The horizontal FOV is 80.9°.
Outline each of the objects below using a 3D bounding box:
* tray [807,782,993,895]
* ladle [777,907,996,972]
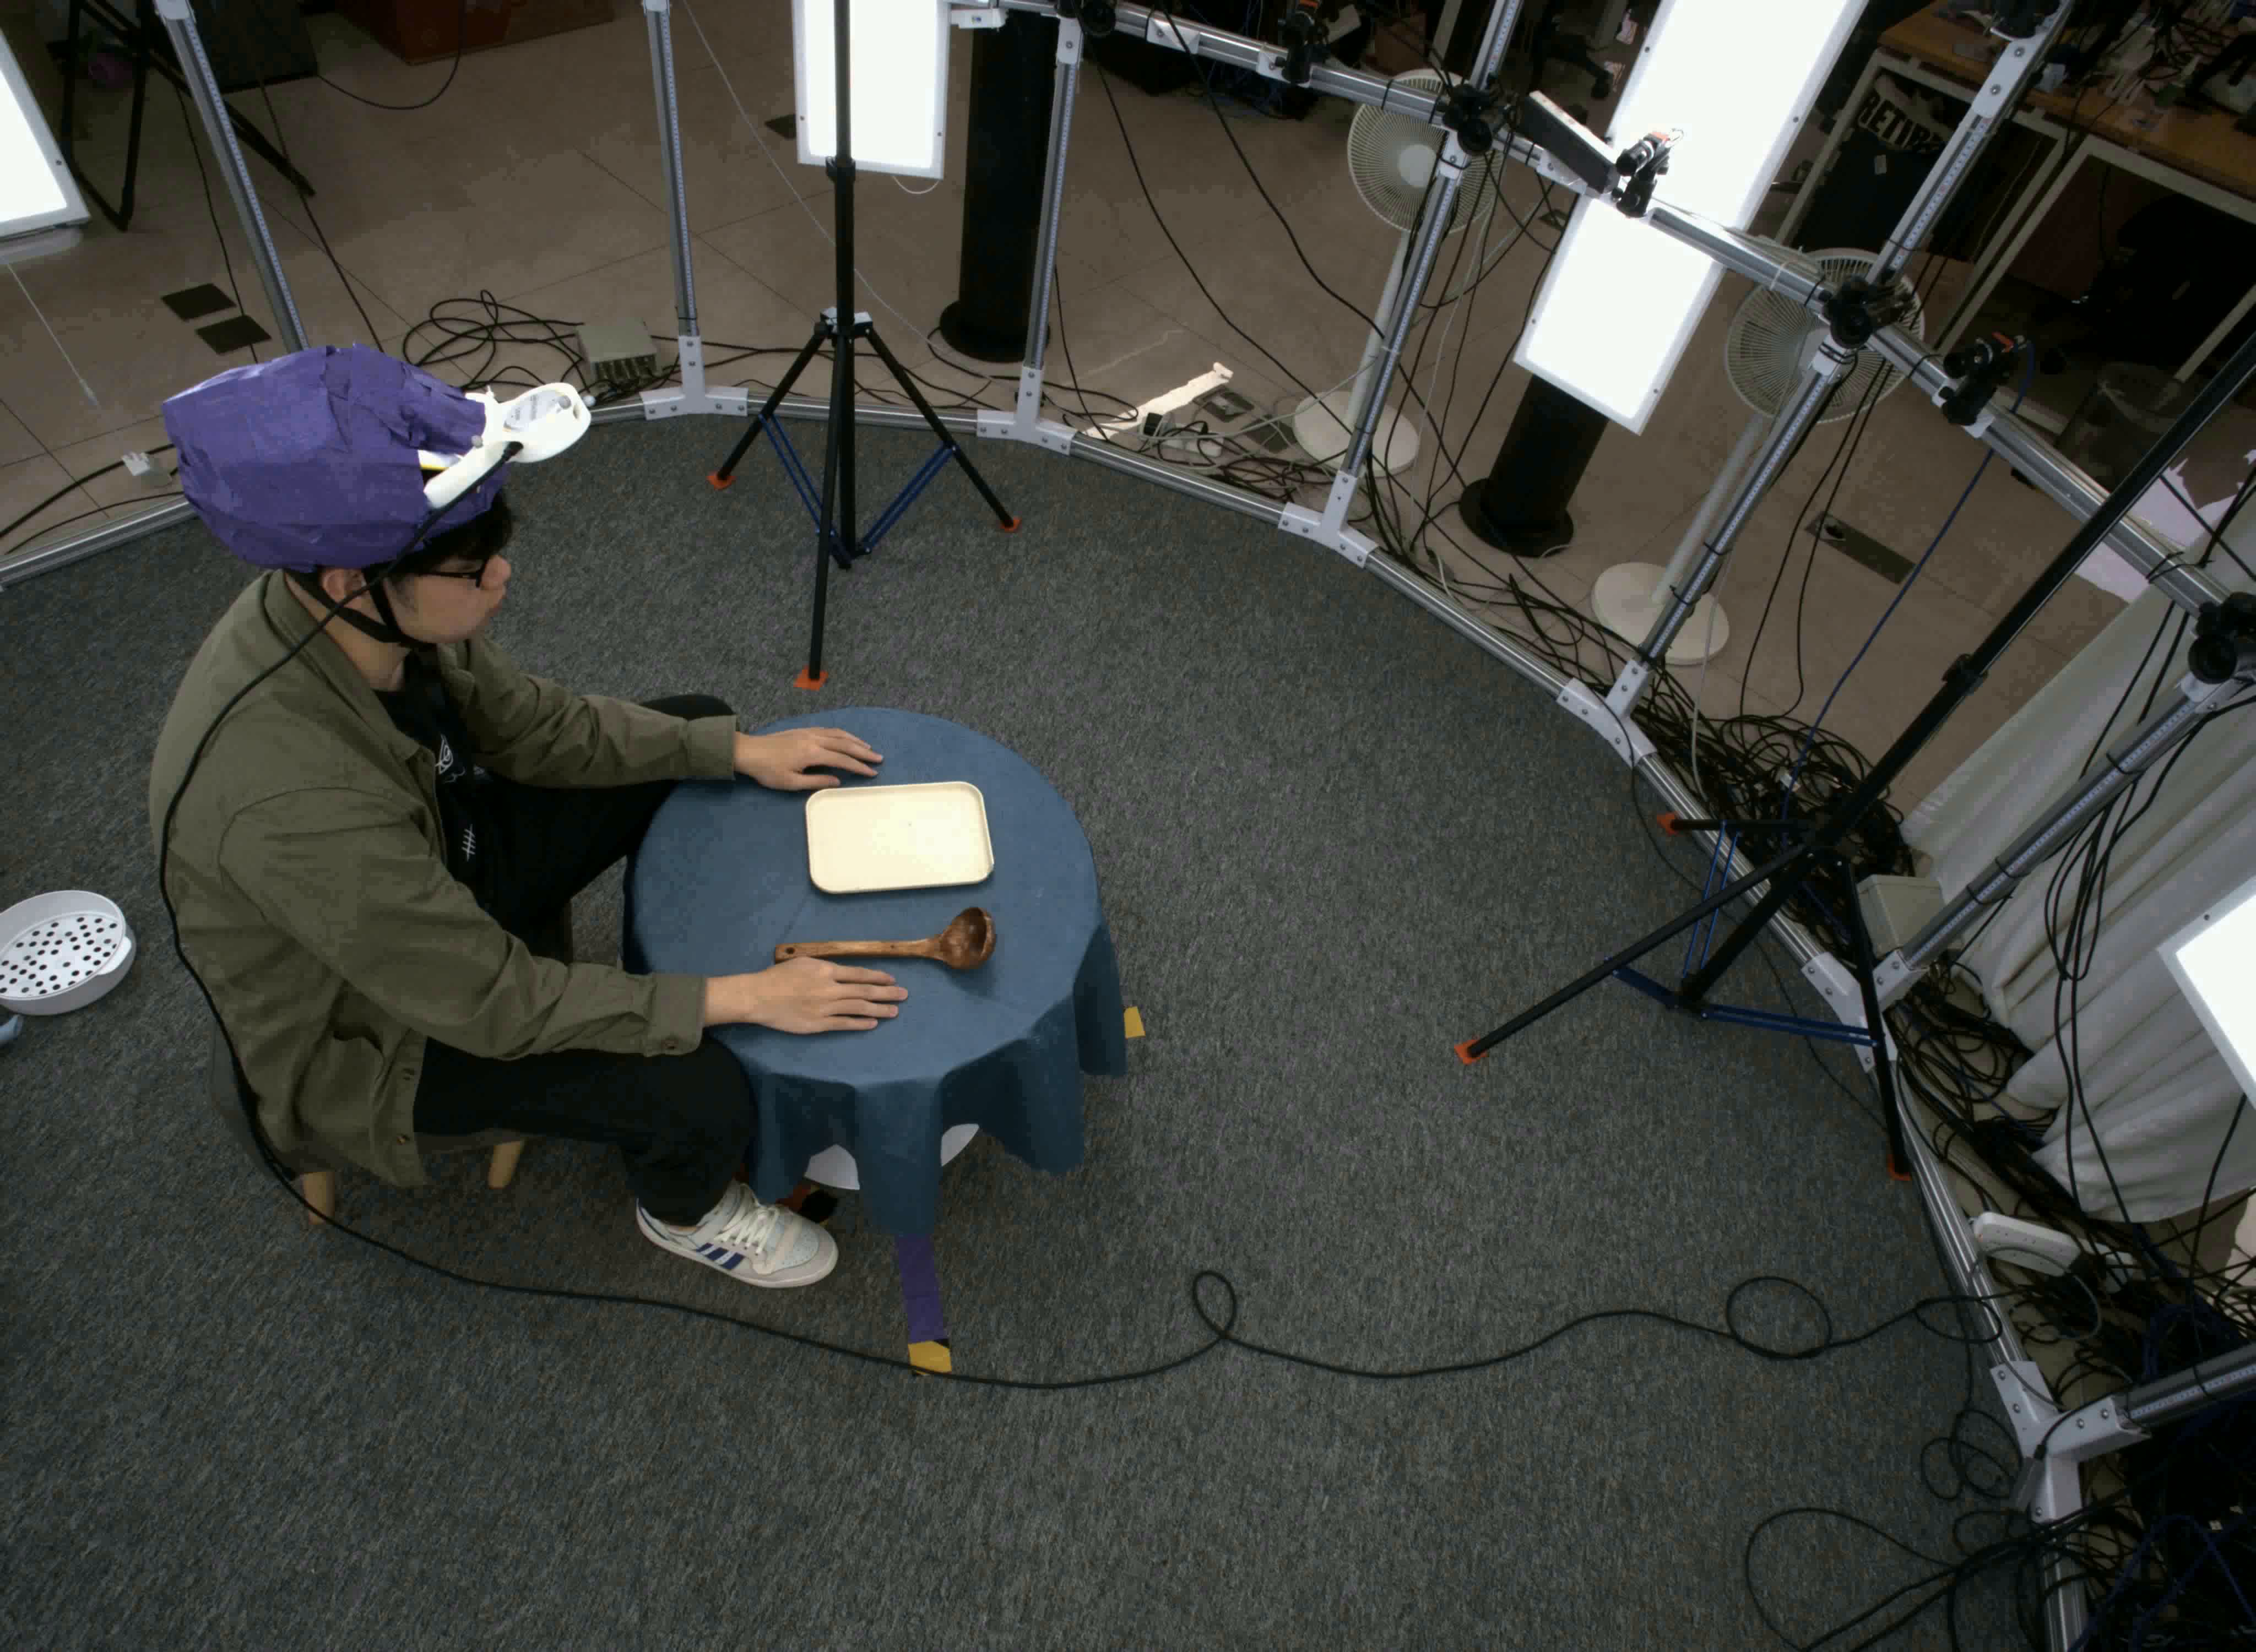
[{"bbox_3d":[-0.306,0.016,1.746,0.240,0.018,0.167,-4,55,-16],"label":"tray"},{"bbox_3d":[-0.301,0.141,1.618,0.274,0.078,0.080,1,57,-12],"label":"ladle"}]
